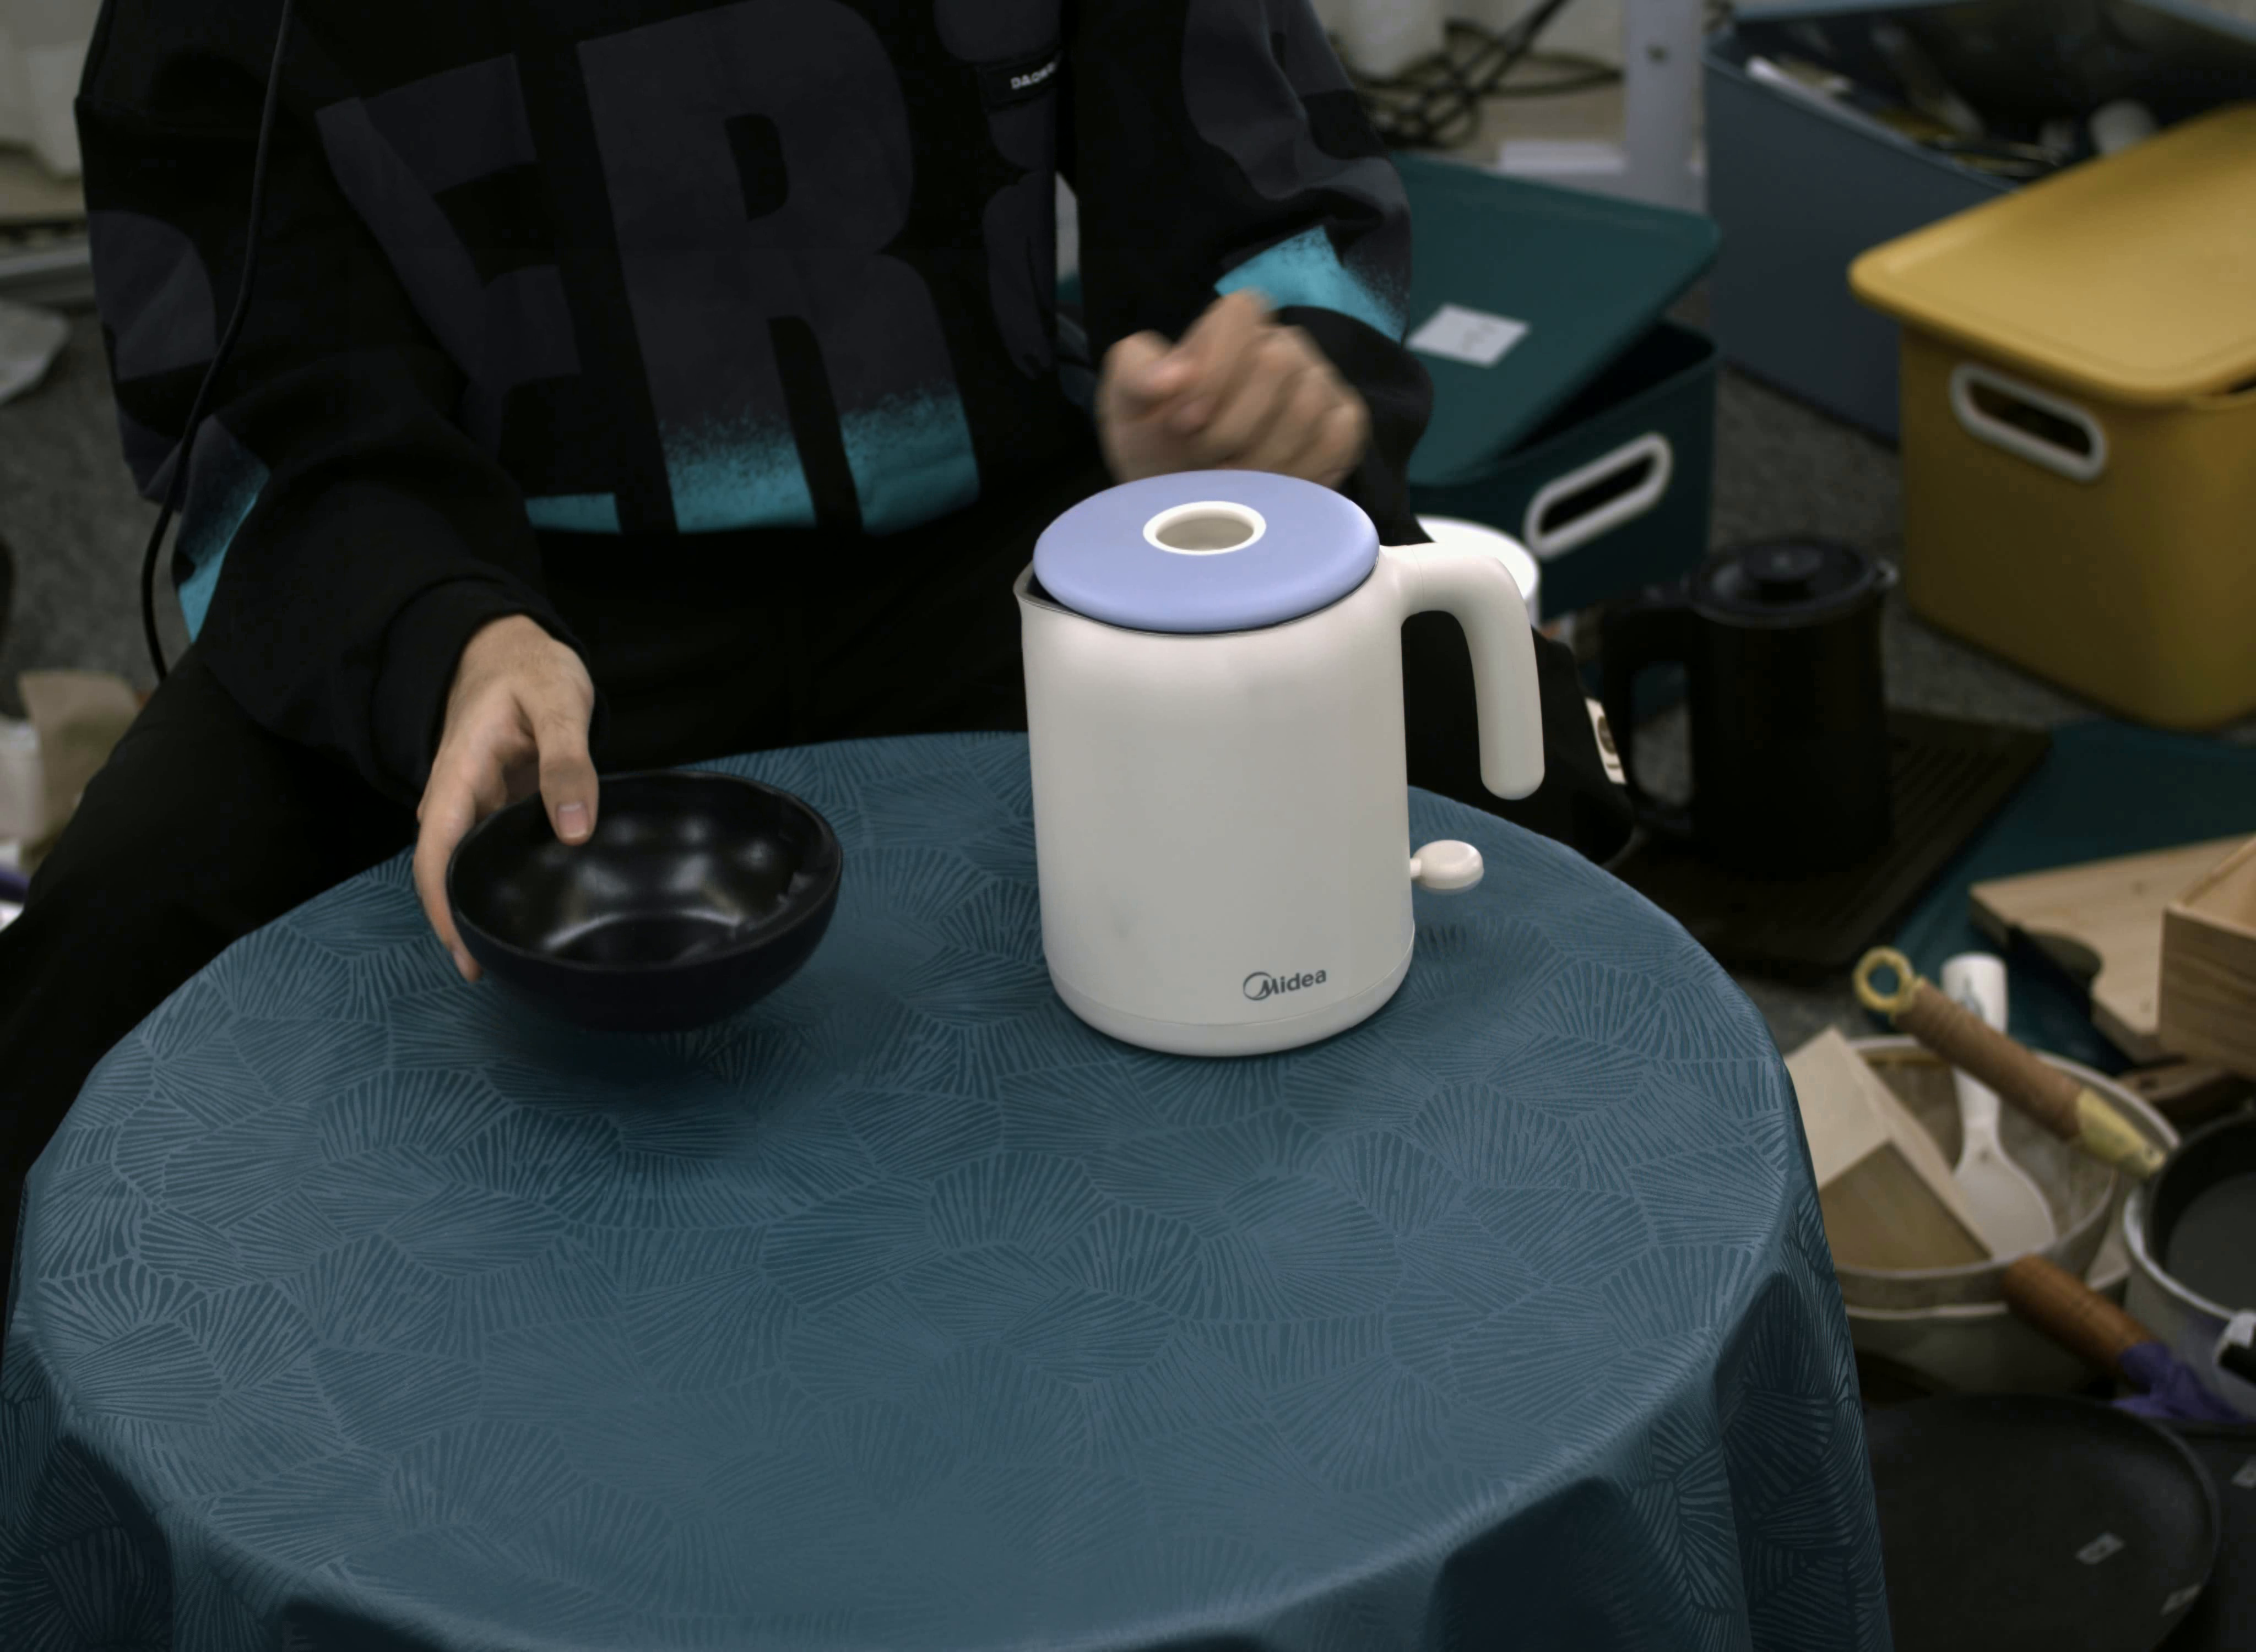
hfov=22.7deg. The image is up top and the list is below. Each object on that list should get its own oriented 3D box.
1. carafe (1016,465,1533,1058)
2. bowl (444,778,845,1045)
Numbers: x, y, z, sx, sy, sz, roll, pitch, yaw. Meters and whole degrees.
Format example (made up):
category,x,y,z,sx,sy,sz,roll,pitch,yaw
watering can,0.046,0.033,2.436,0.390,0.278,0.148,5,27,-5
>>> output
category,x,y,z,sx,sy,sz,roll,pitch,yaw
carafe,0.054,-0.027,1.958,0.191,0.180,0.133,-9,28,-17
bowl,-0.166,0.037,1.950,0.139,0.049,0.142,-1,28,1
